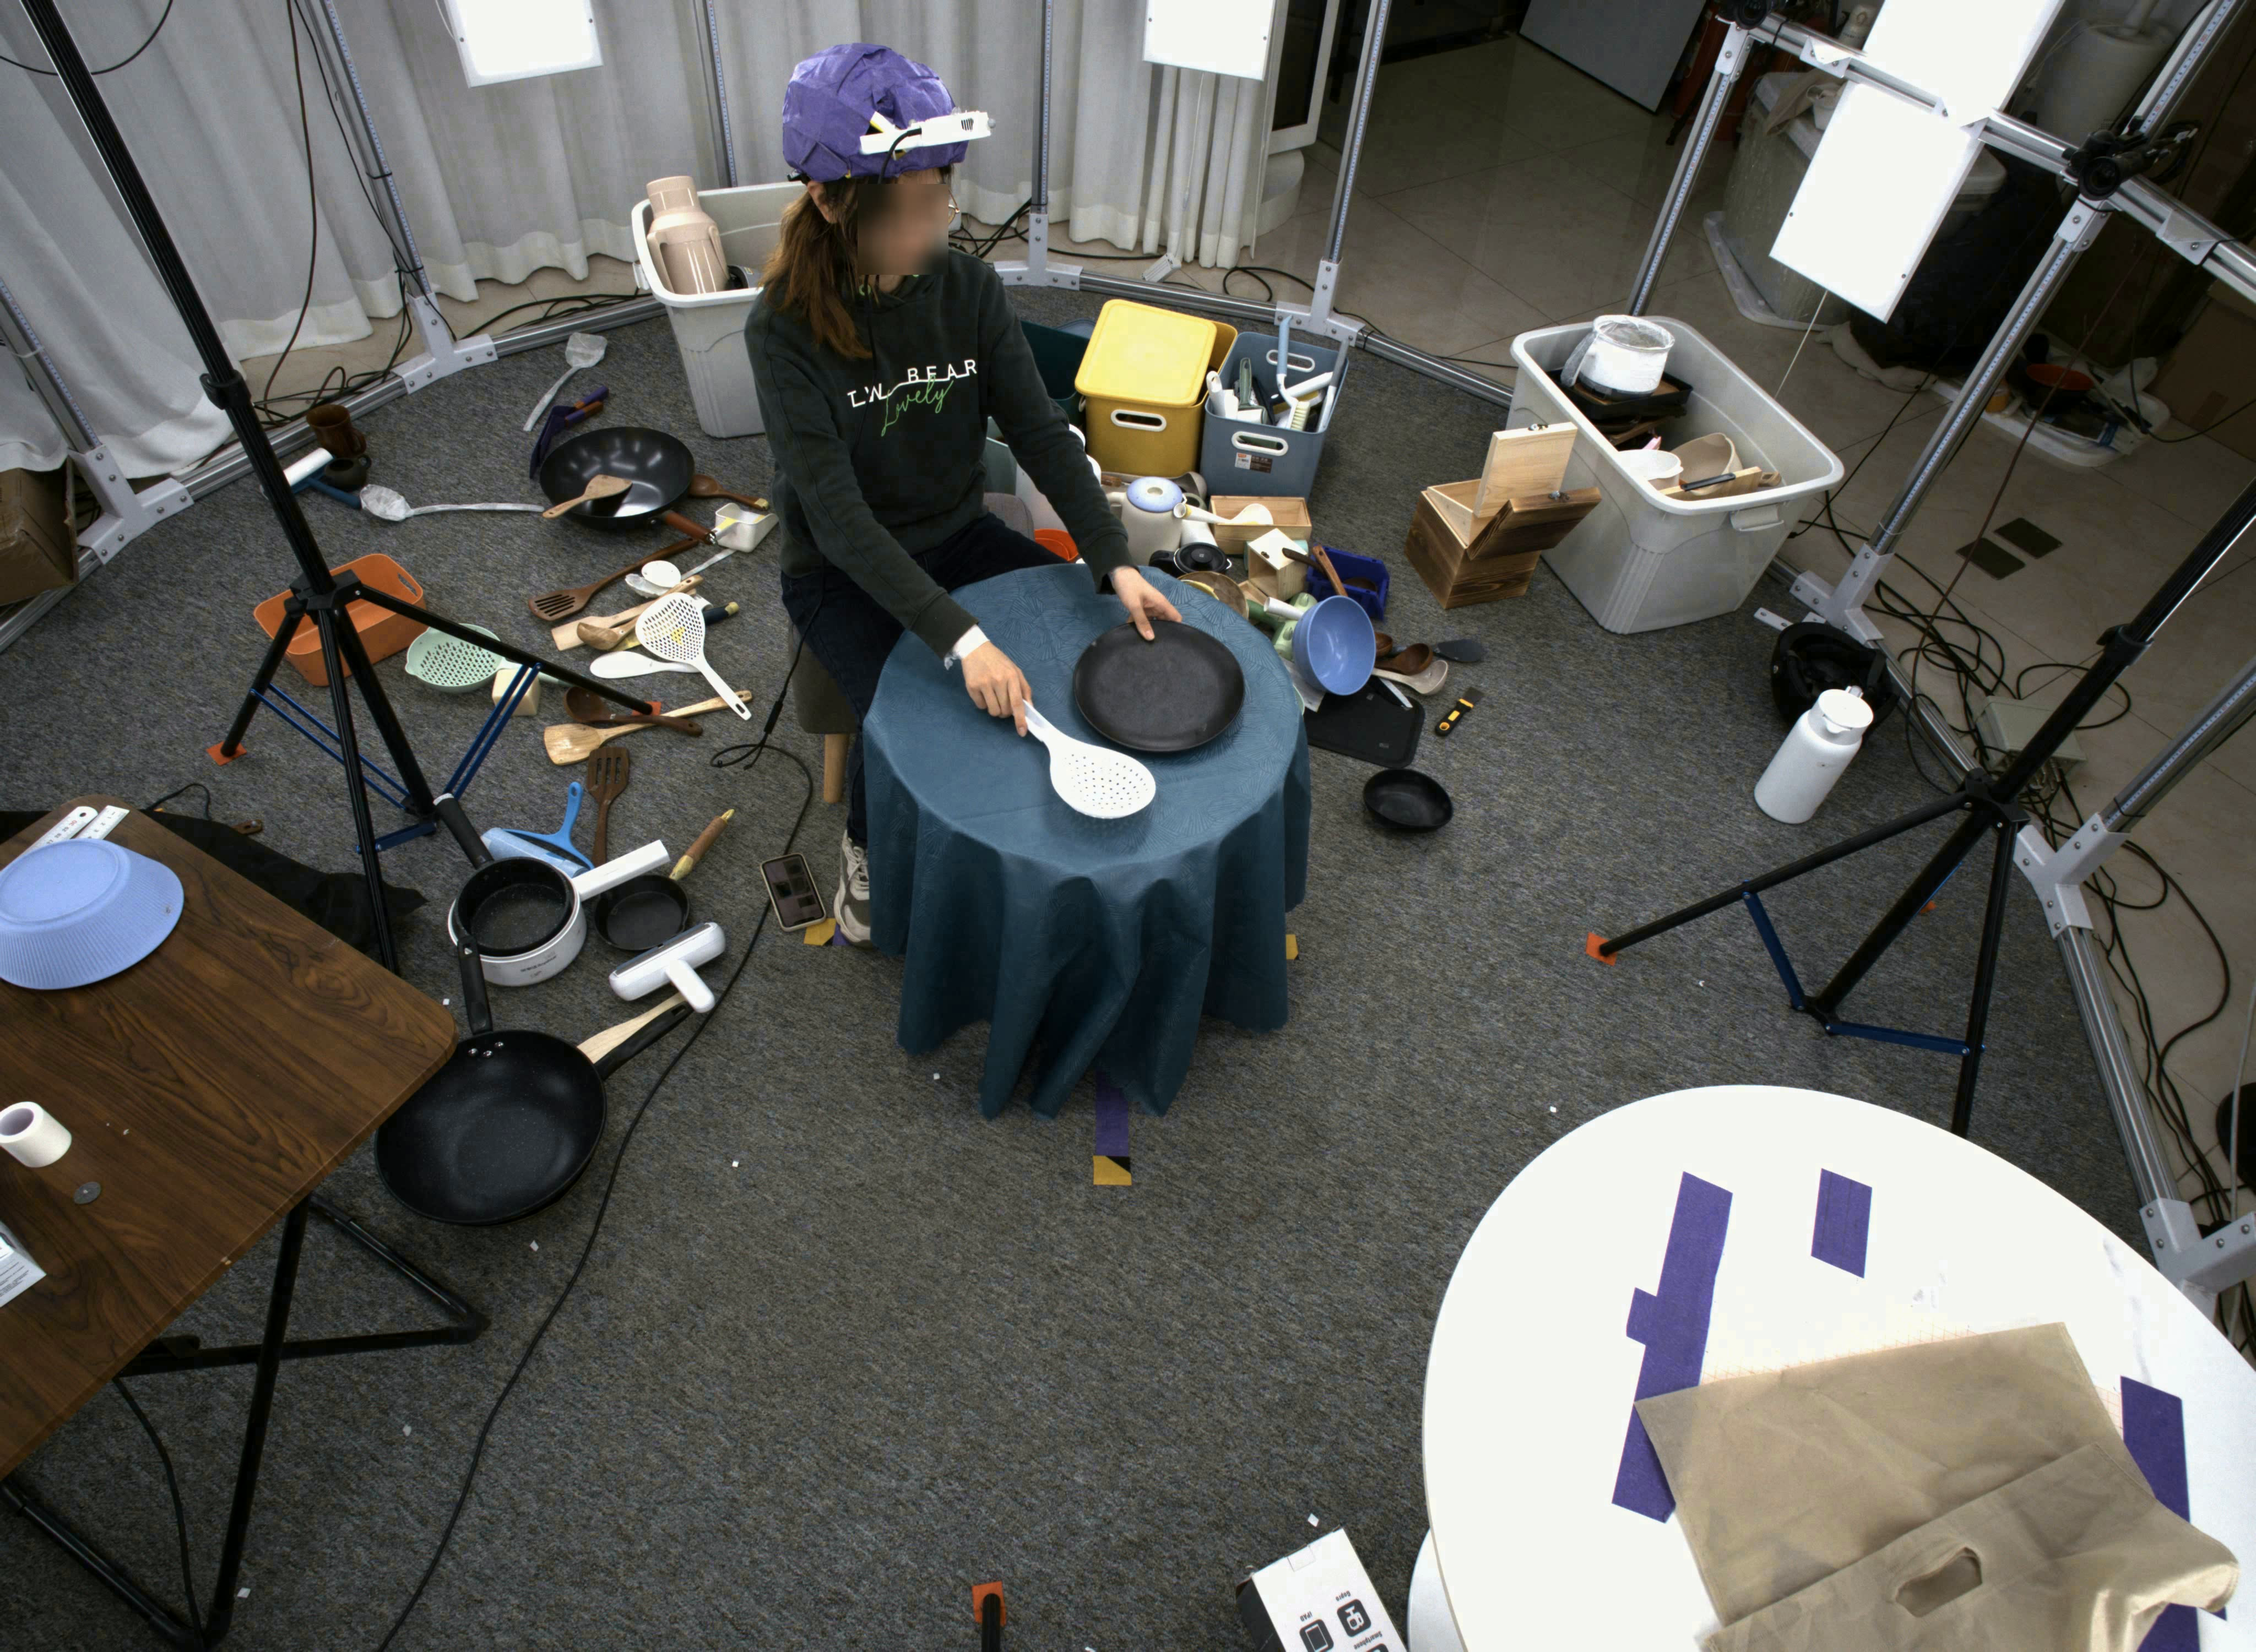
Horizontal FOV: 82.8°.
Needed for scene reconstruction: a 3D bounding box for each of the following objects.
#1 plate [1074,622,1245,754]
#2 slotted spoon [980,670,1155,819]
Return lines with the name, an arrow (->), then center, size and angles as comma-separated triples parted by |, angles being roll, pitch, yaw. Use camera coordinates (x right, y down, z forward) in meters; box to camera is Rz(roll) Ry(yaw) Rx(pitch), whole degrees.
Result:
plate -> 0.045, -0.196, 1.832 | 0.244, 0.023, 0.250 | 1, 54, -1
slotted spoon -> -0.099, -0.116, 1.745 | 0.136, 0.045, 0.356 | -20, 52, -33
